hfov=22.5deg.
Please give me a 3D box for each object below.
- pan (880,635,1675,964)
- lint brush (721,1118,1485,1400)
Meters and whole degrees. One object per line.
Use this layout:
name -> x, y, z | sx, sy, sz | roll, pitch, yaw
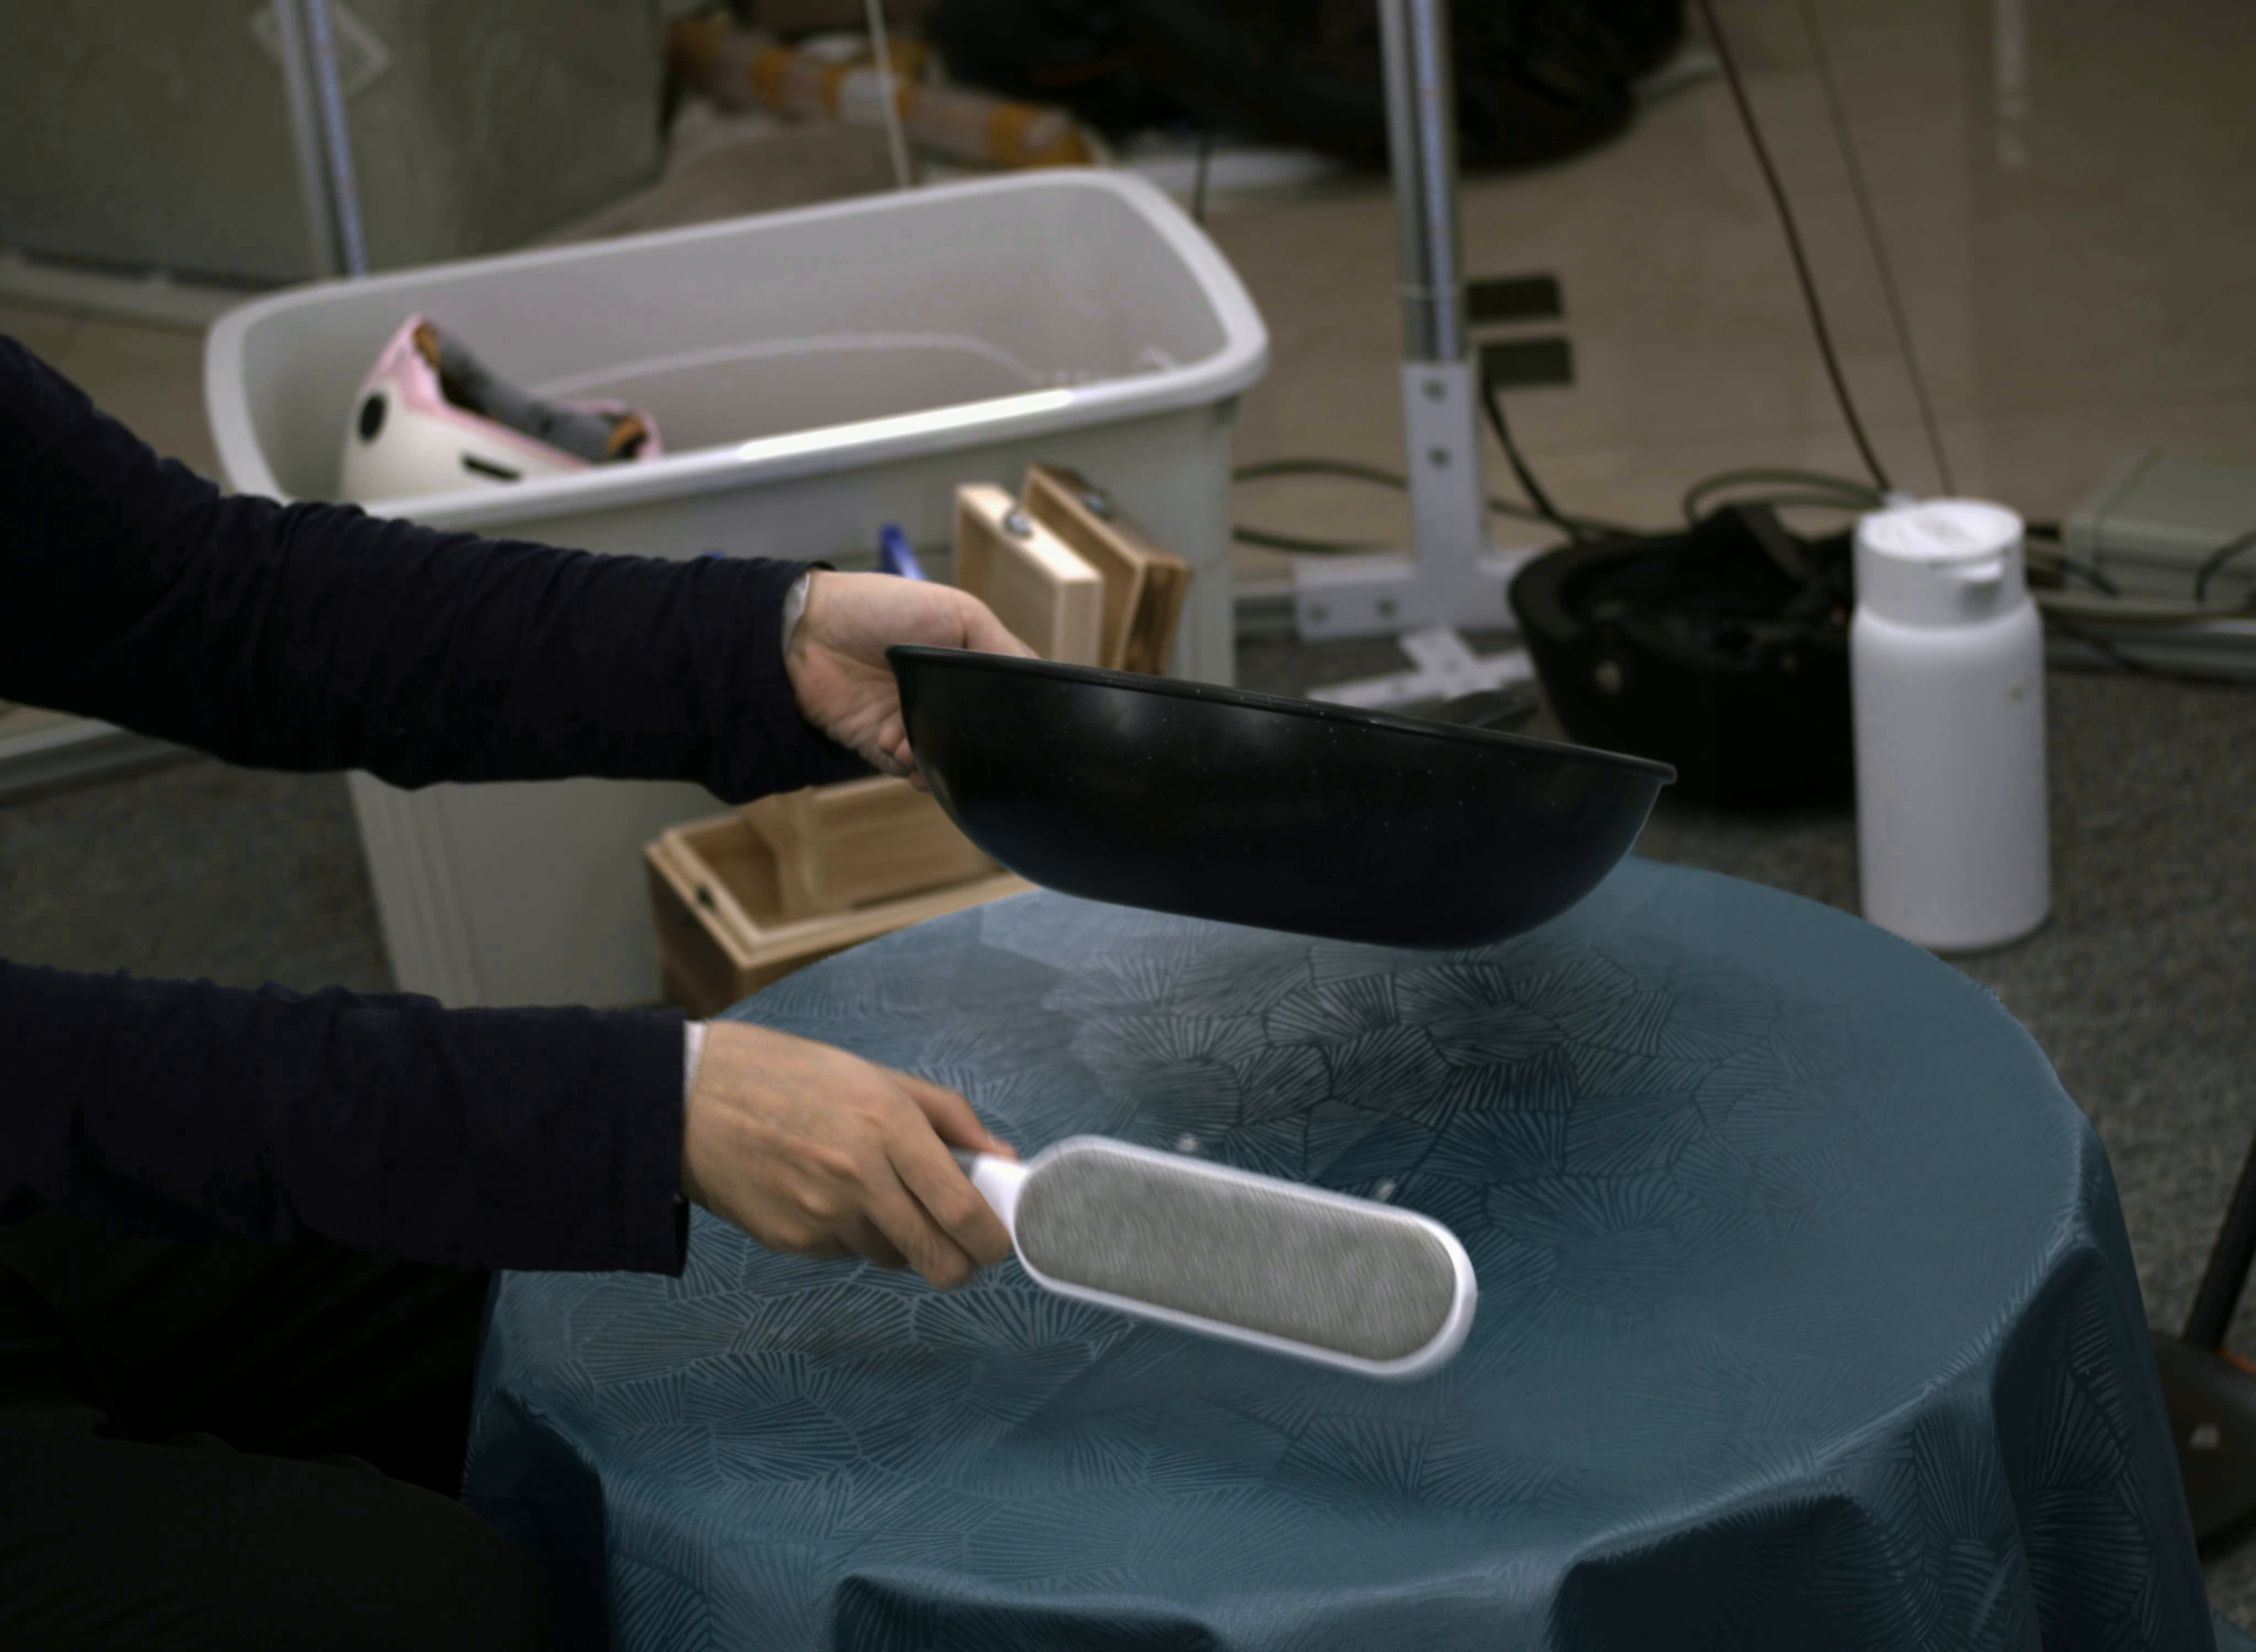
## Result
pan -> 0.080, -0.011, 2.249 | 0.309, 0.112, 0.477 | 11, 1, 19
lint brush -> -0.014, 0.144, 1.999 | 0.307, 0.060, 0.021 | 12, -9, 28
